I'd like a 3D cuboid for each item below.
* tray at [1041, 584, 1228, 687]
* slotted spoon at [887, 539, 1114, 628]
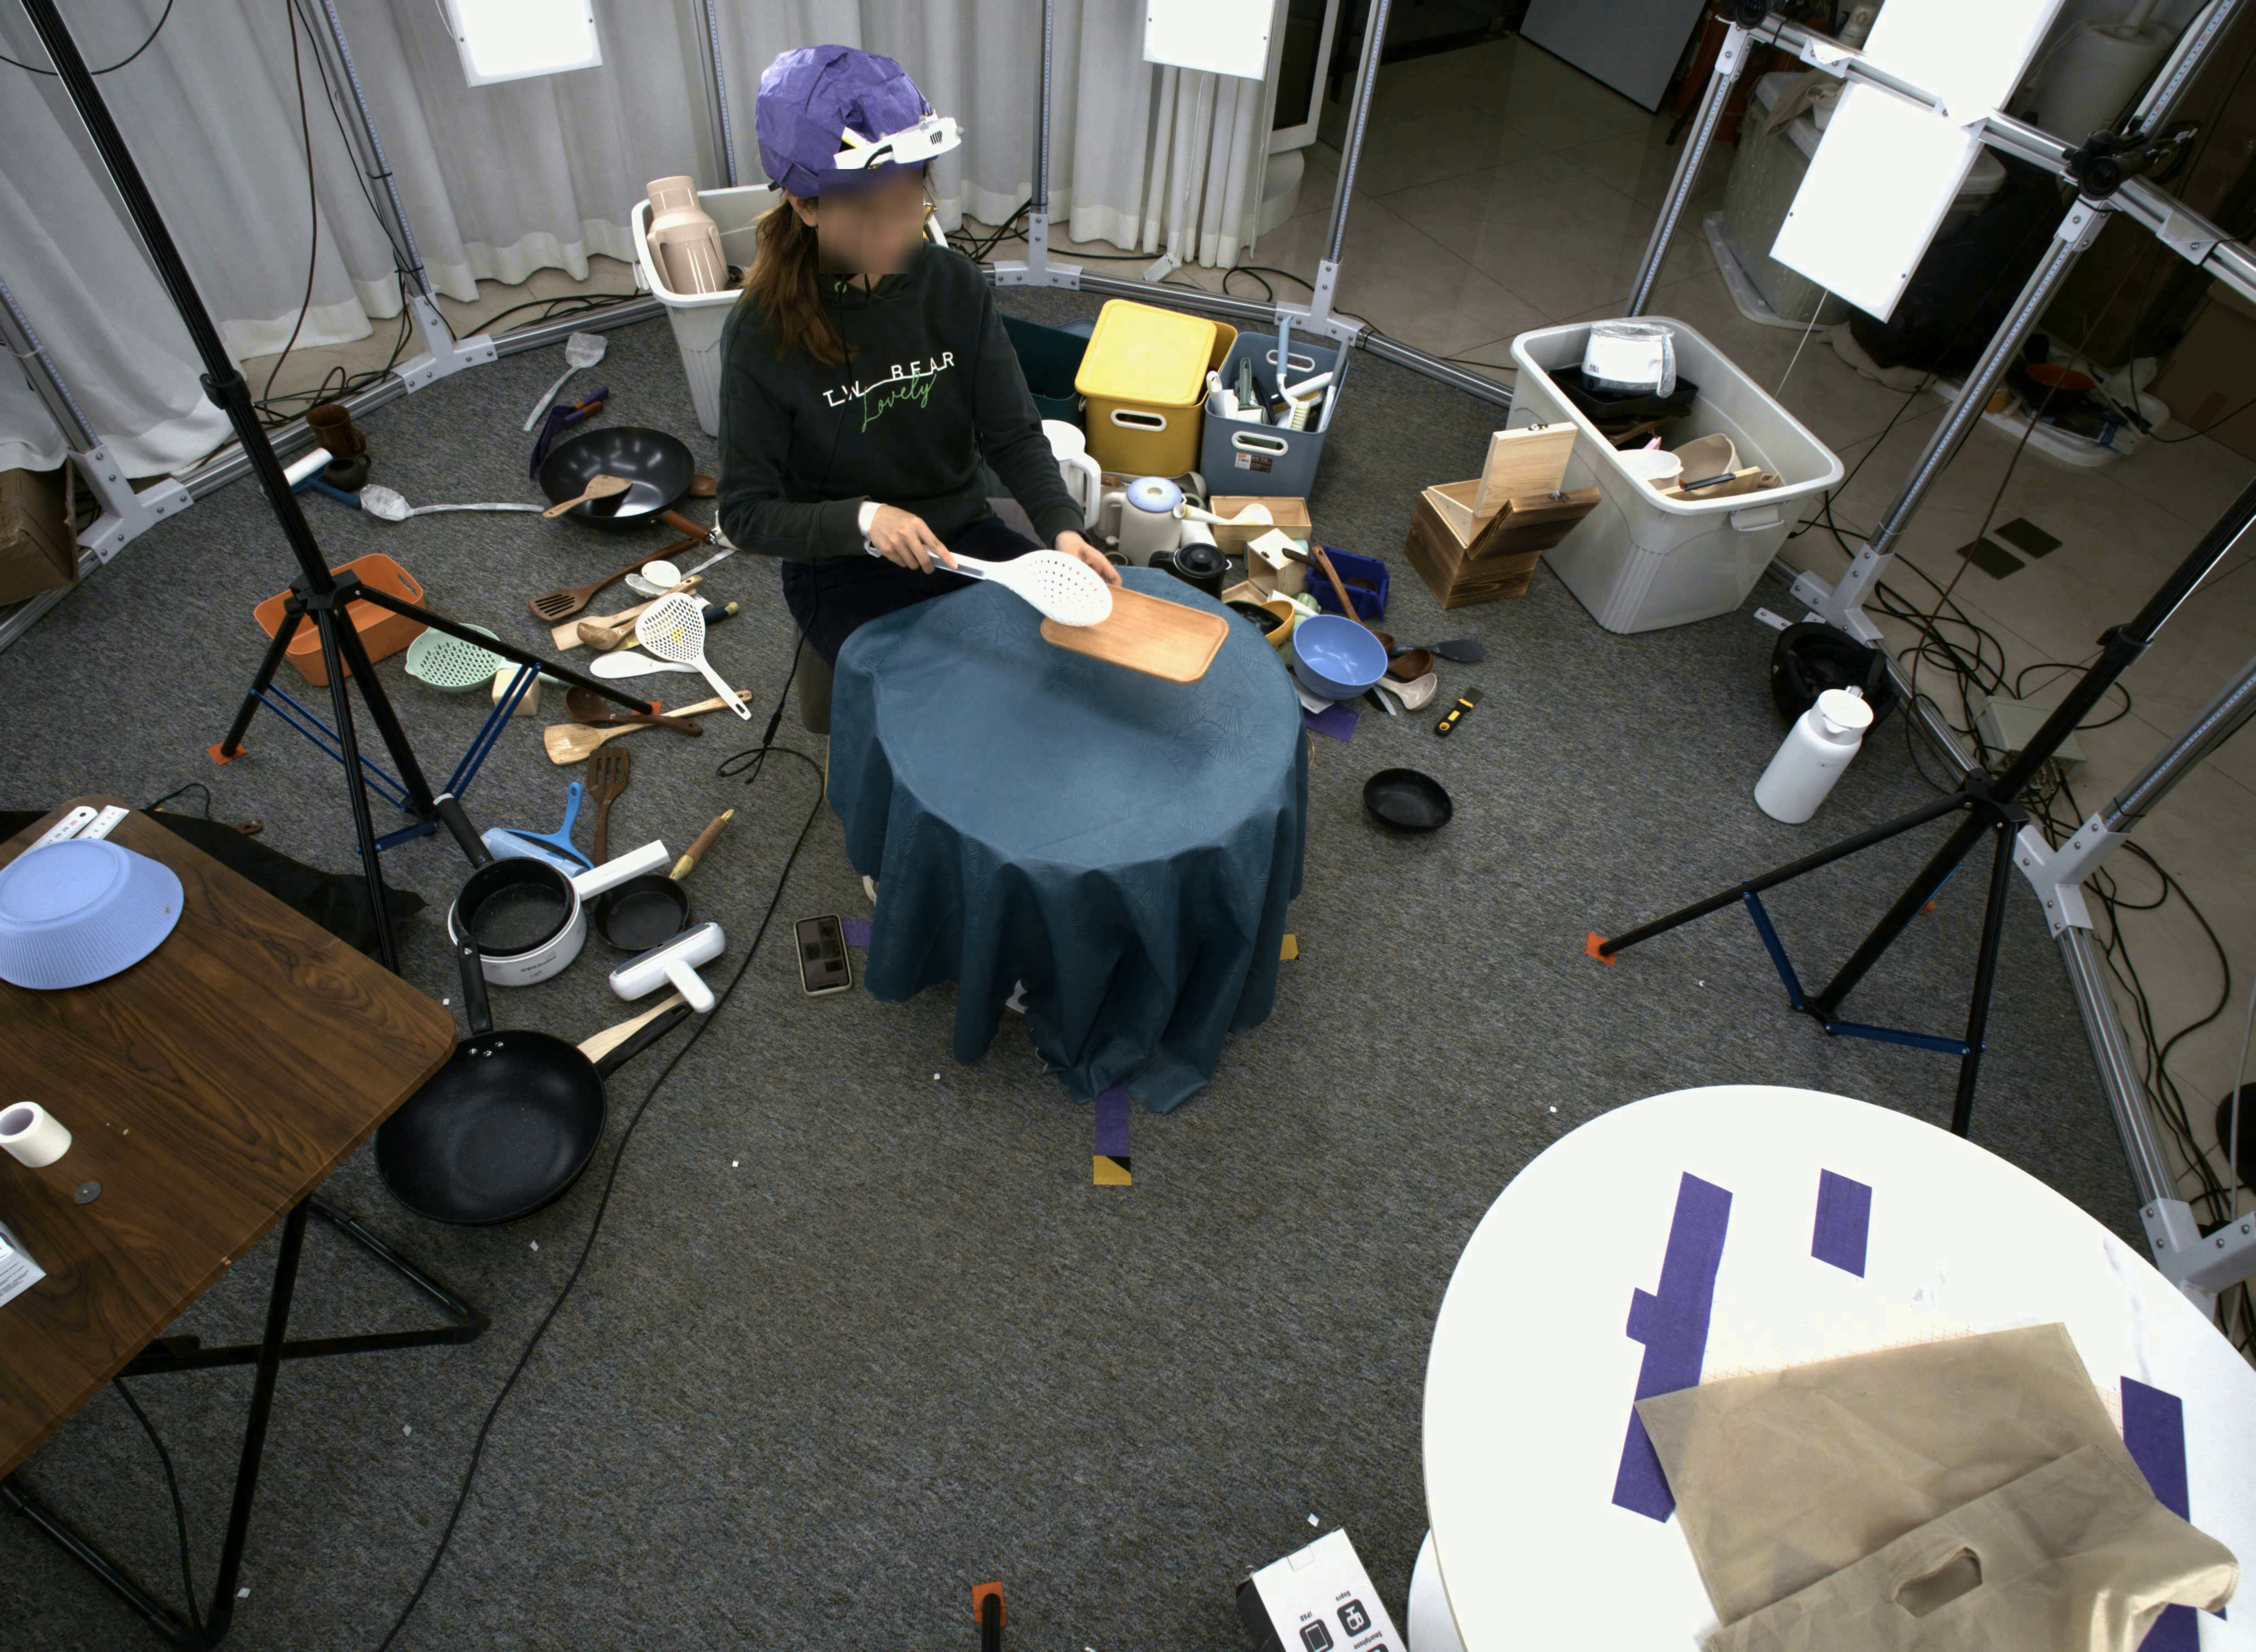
[{"bbox_3d":[0.009,-0.268,1.782,0.253,0.022,0.132,20,57,22],"label":"tray"},{"bbox_3d":[-0.182,-0.348,1.784,0.353,0.133,0.046,22,59,22],"label":"slotted spoon"}]
